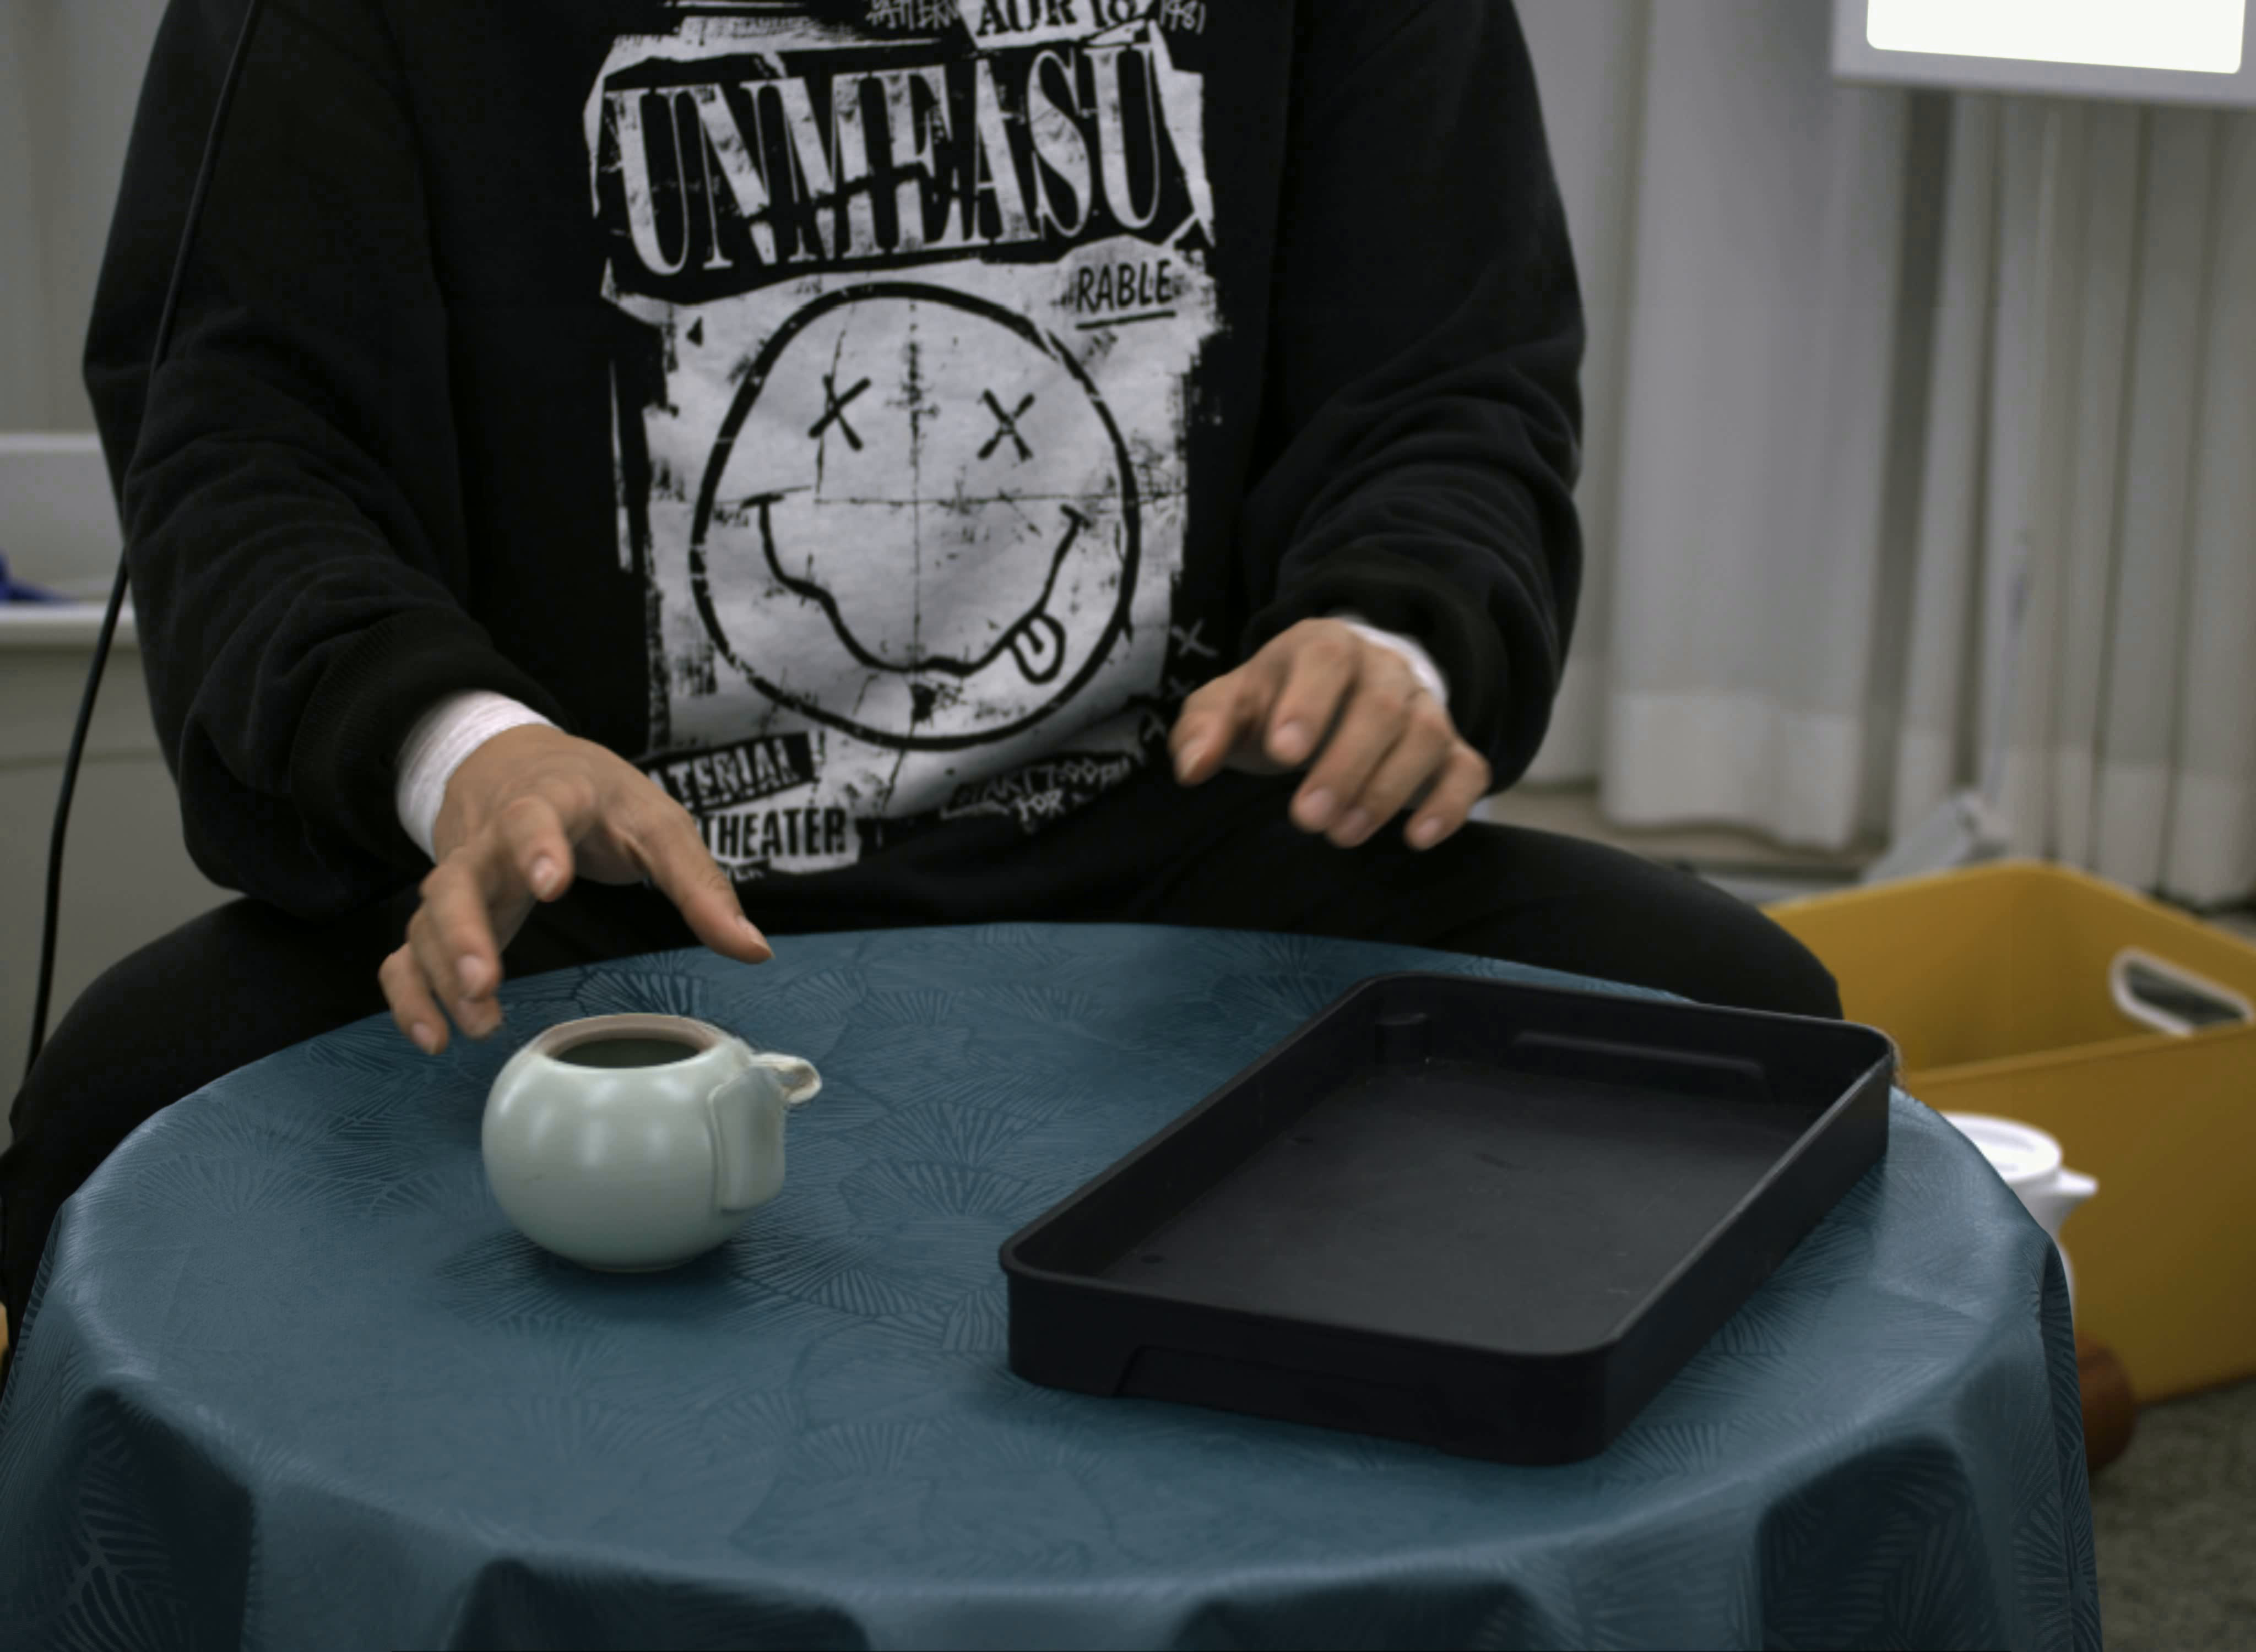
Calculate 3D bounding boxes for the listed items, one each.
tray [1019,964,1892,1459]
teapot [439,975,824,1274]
[{"bbox_3d":[0.106,0.108,1.575,0.182,0.037,0.318,6,17,21],"label":"tray"},{"bbox_3d":[-0.147,0.091,1.558,0.142,0.075,0.089,14,21,34],"label":"teapot"}]
